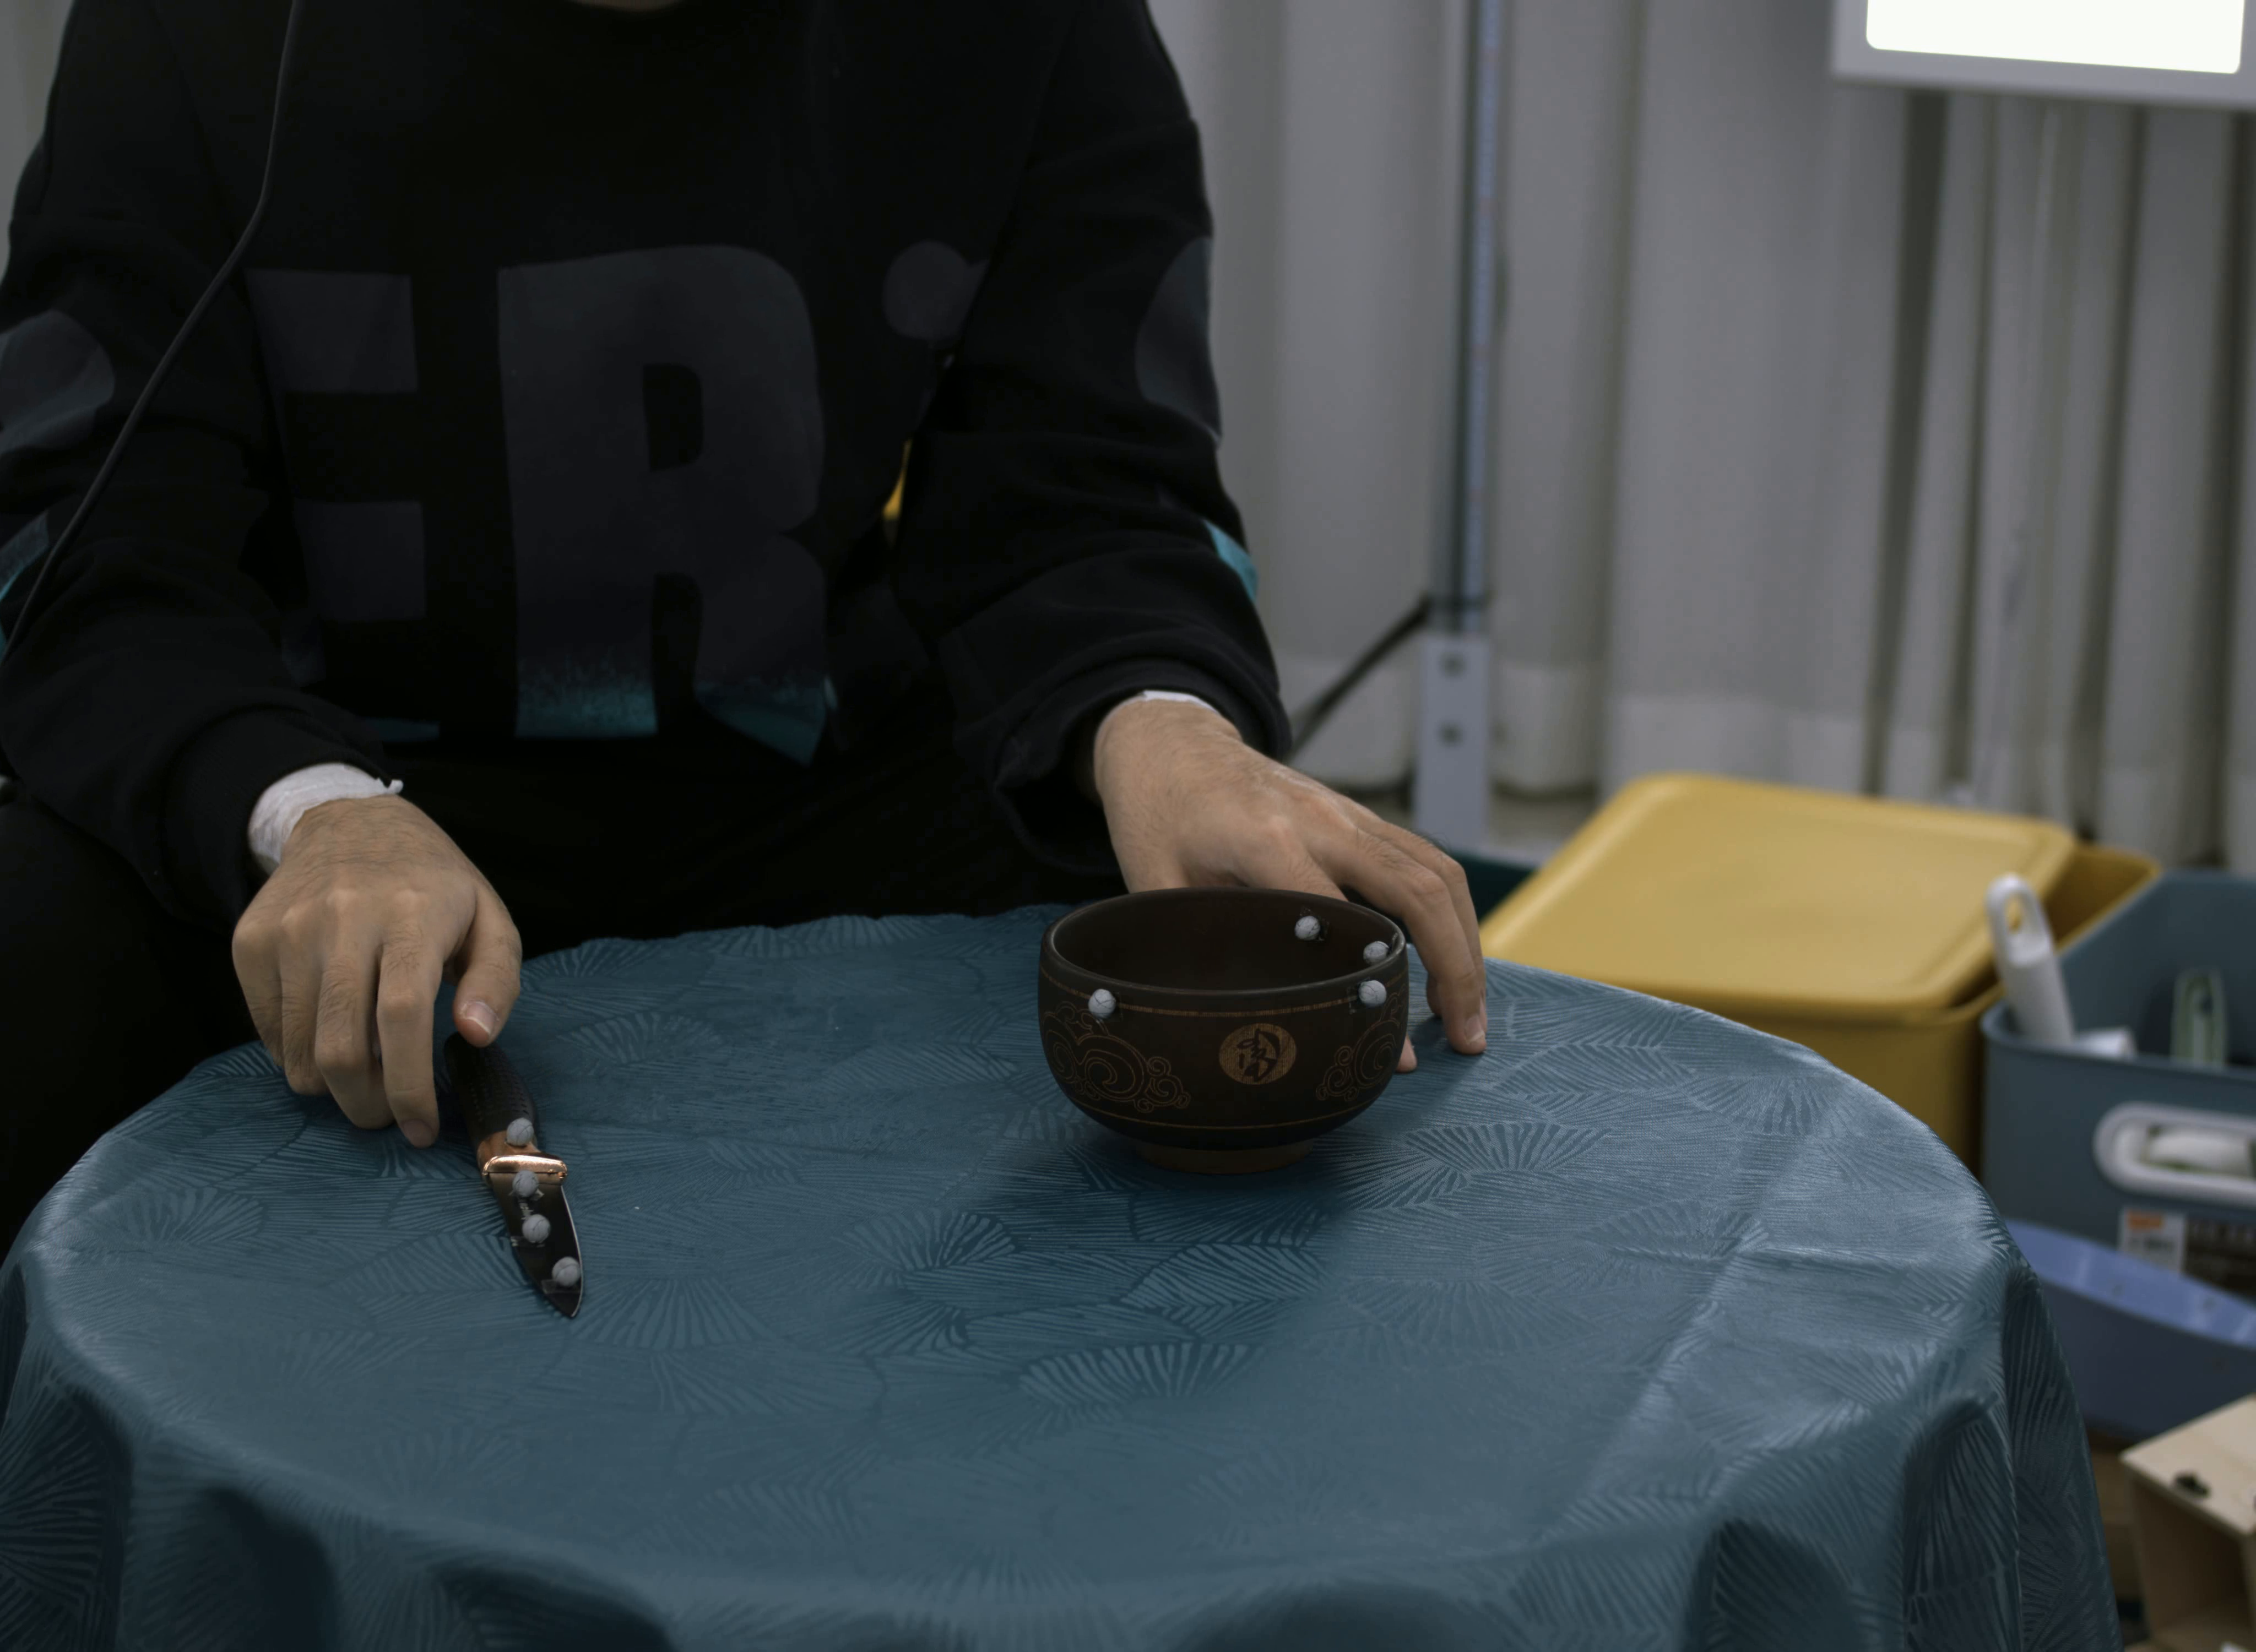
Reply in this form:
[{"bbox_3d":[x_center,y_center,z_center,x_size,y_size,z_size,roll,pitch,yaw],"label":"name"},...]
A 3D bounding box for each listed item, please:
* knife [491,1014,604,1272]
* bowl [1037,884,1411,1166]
[{"bbox_3d":[-0.178,0.099,1.611,0.017,0.026,0.223,21,11,-18],"label":"knife"},{"bbox_3d":[0.030,0.066,1.651,0.117,0.070,0.117,1,14,0],"label":"bowl"}]
